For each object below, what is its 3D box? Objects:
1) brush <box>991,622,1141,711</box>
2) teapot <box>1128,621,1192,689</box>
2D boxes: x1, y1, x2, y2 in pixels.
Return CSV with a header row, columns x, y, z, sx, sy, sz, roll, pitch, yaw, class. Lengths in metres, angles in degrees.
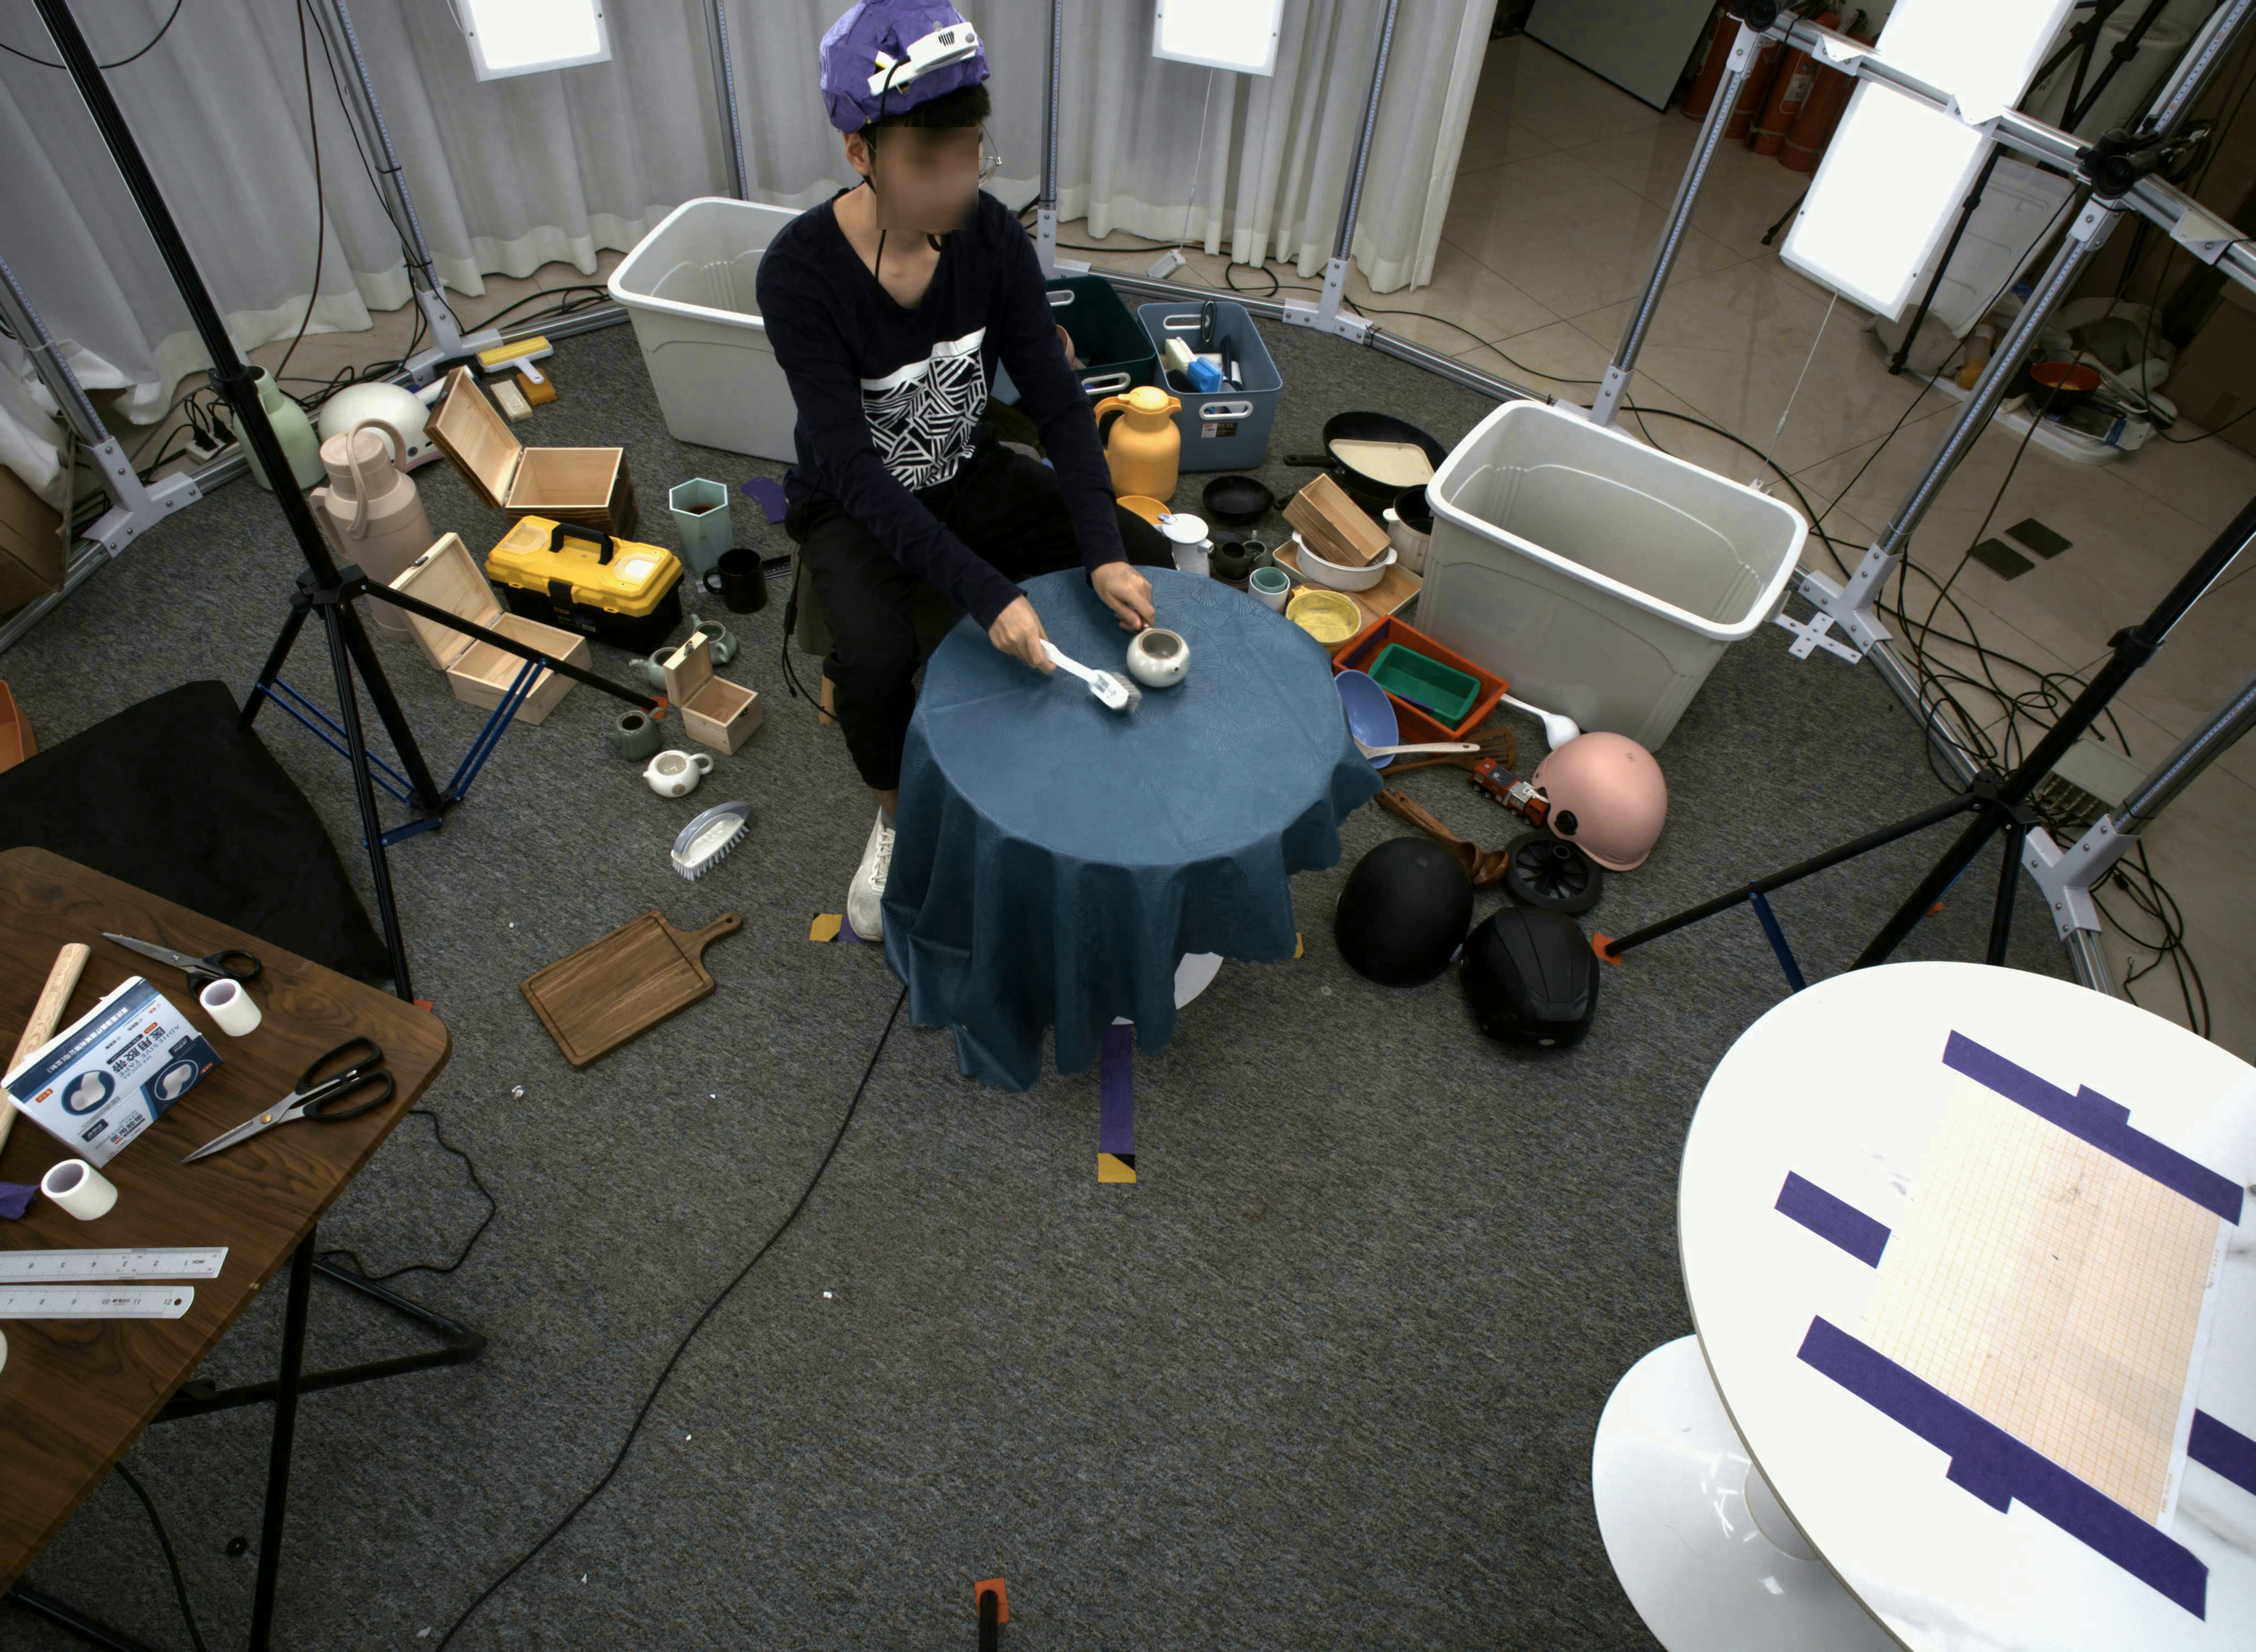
x,y,z,sx,sy,sz,roll,pitch,yaw,class
-0.087,-0.231,1.822,0.246,0.034,0.050,31,32,19,brush
0.042,-0.246,1.847,0.092,0.058,0.131,-23,56,-18,teapot
